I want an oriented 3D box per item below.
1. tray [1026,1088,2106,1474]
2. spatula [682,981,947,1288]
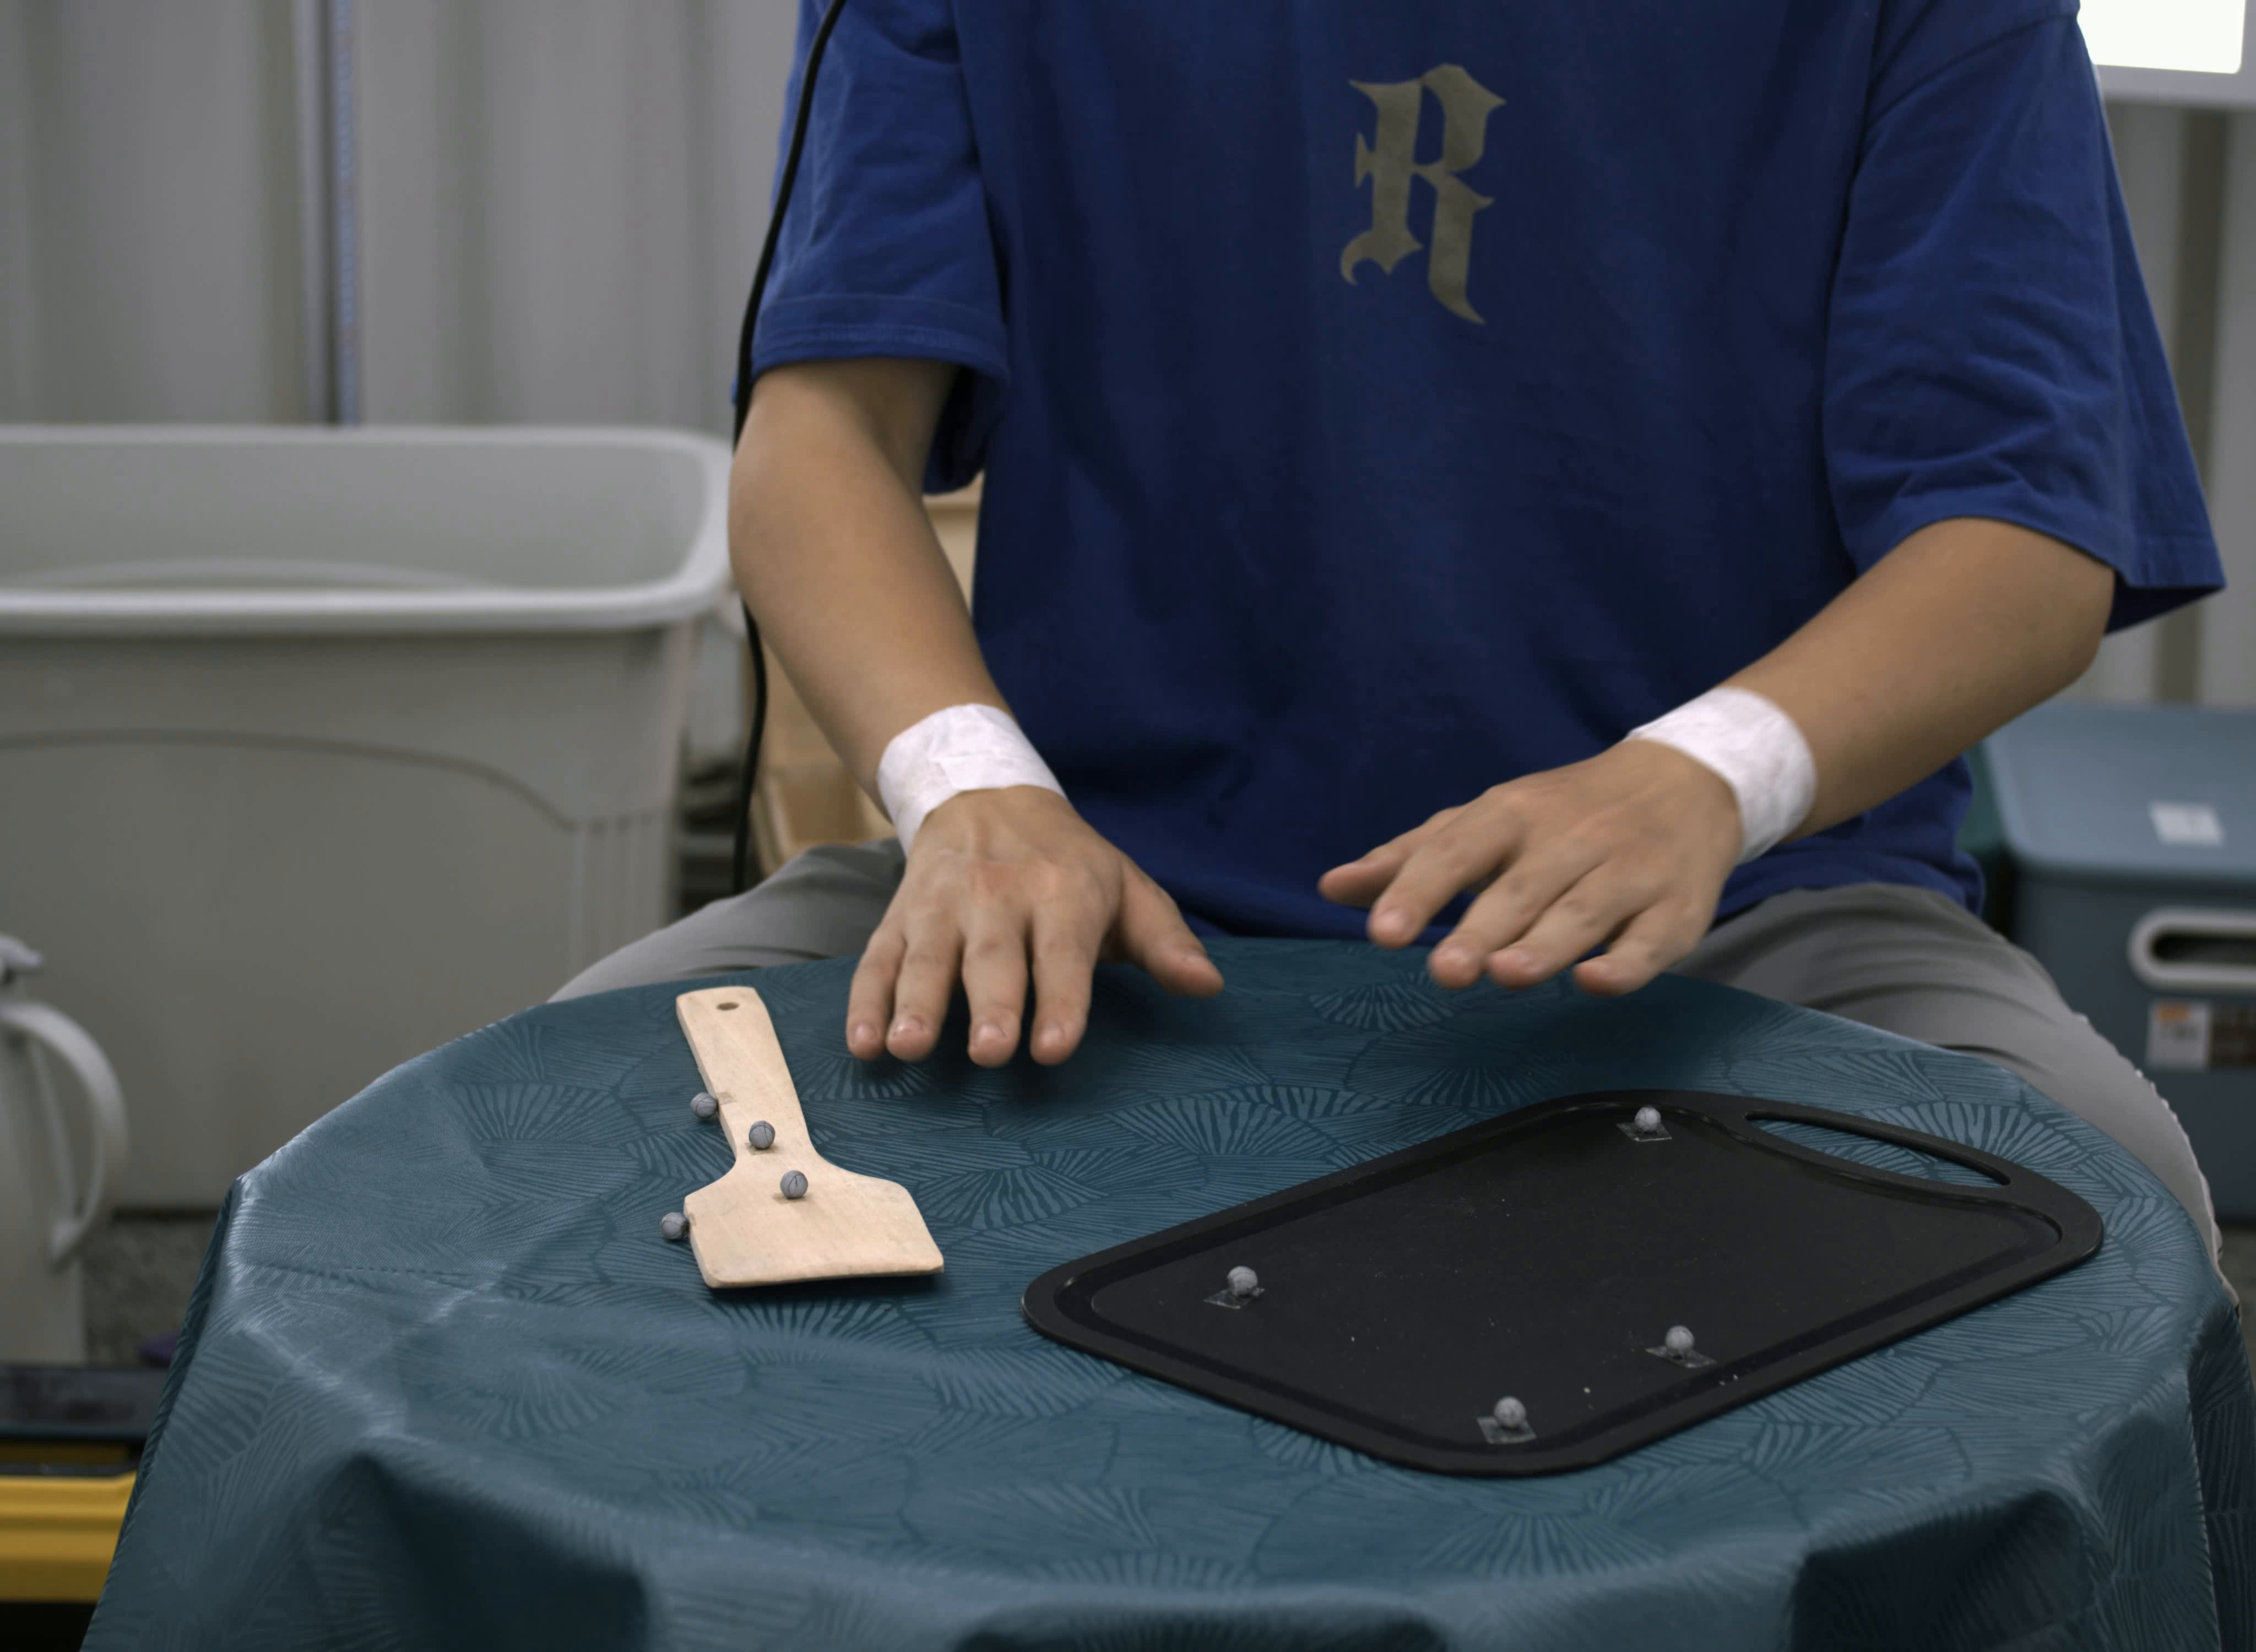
[{"bbox_3d":[0.138,0.126,1.565,0.327,0.010,0.208,-14,21,-43],"label":"tray"},{"bbox_3d":[-0.114,0.095,1.664,0.072,0.011,0.290,-4,16,-10],"label":"spatula"}]
